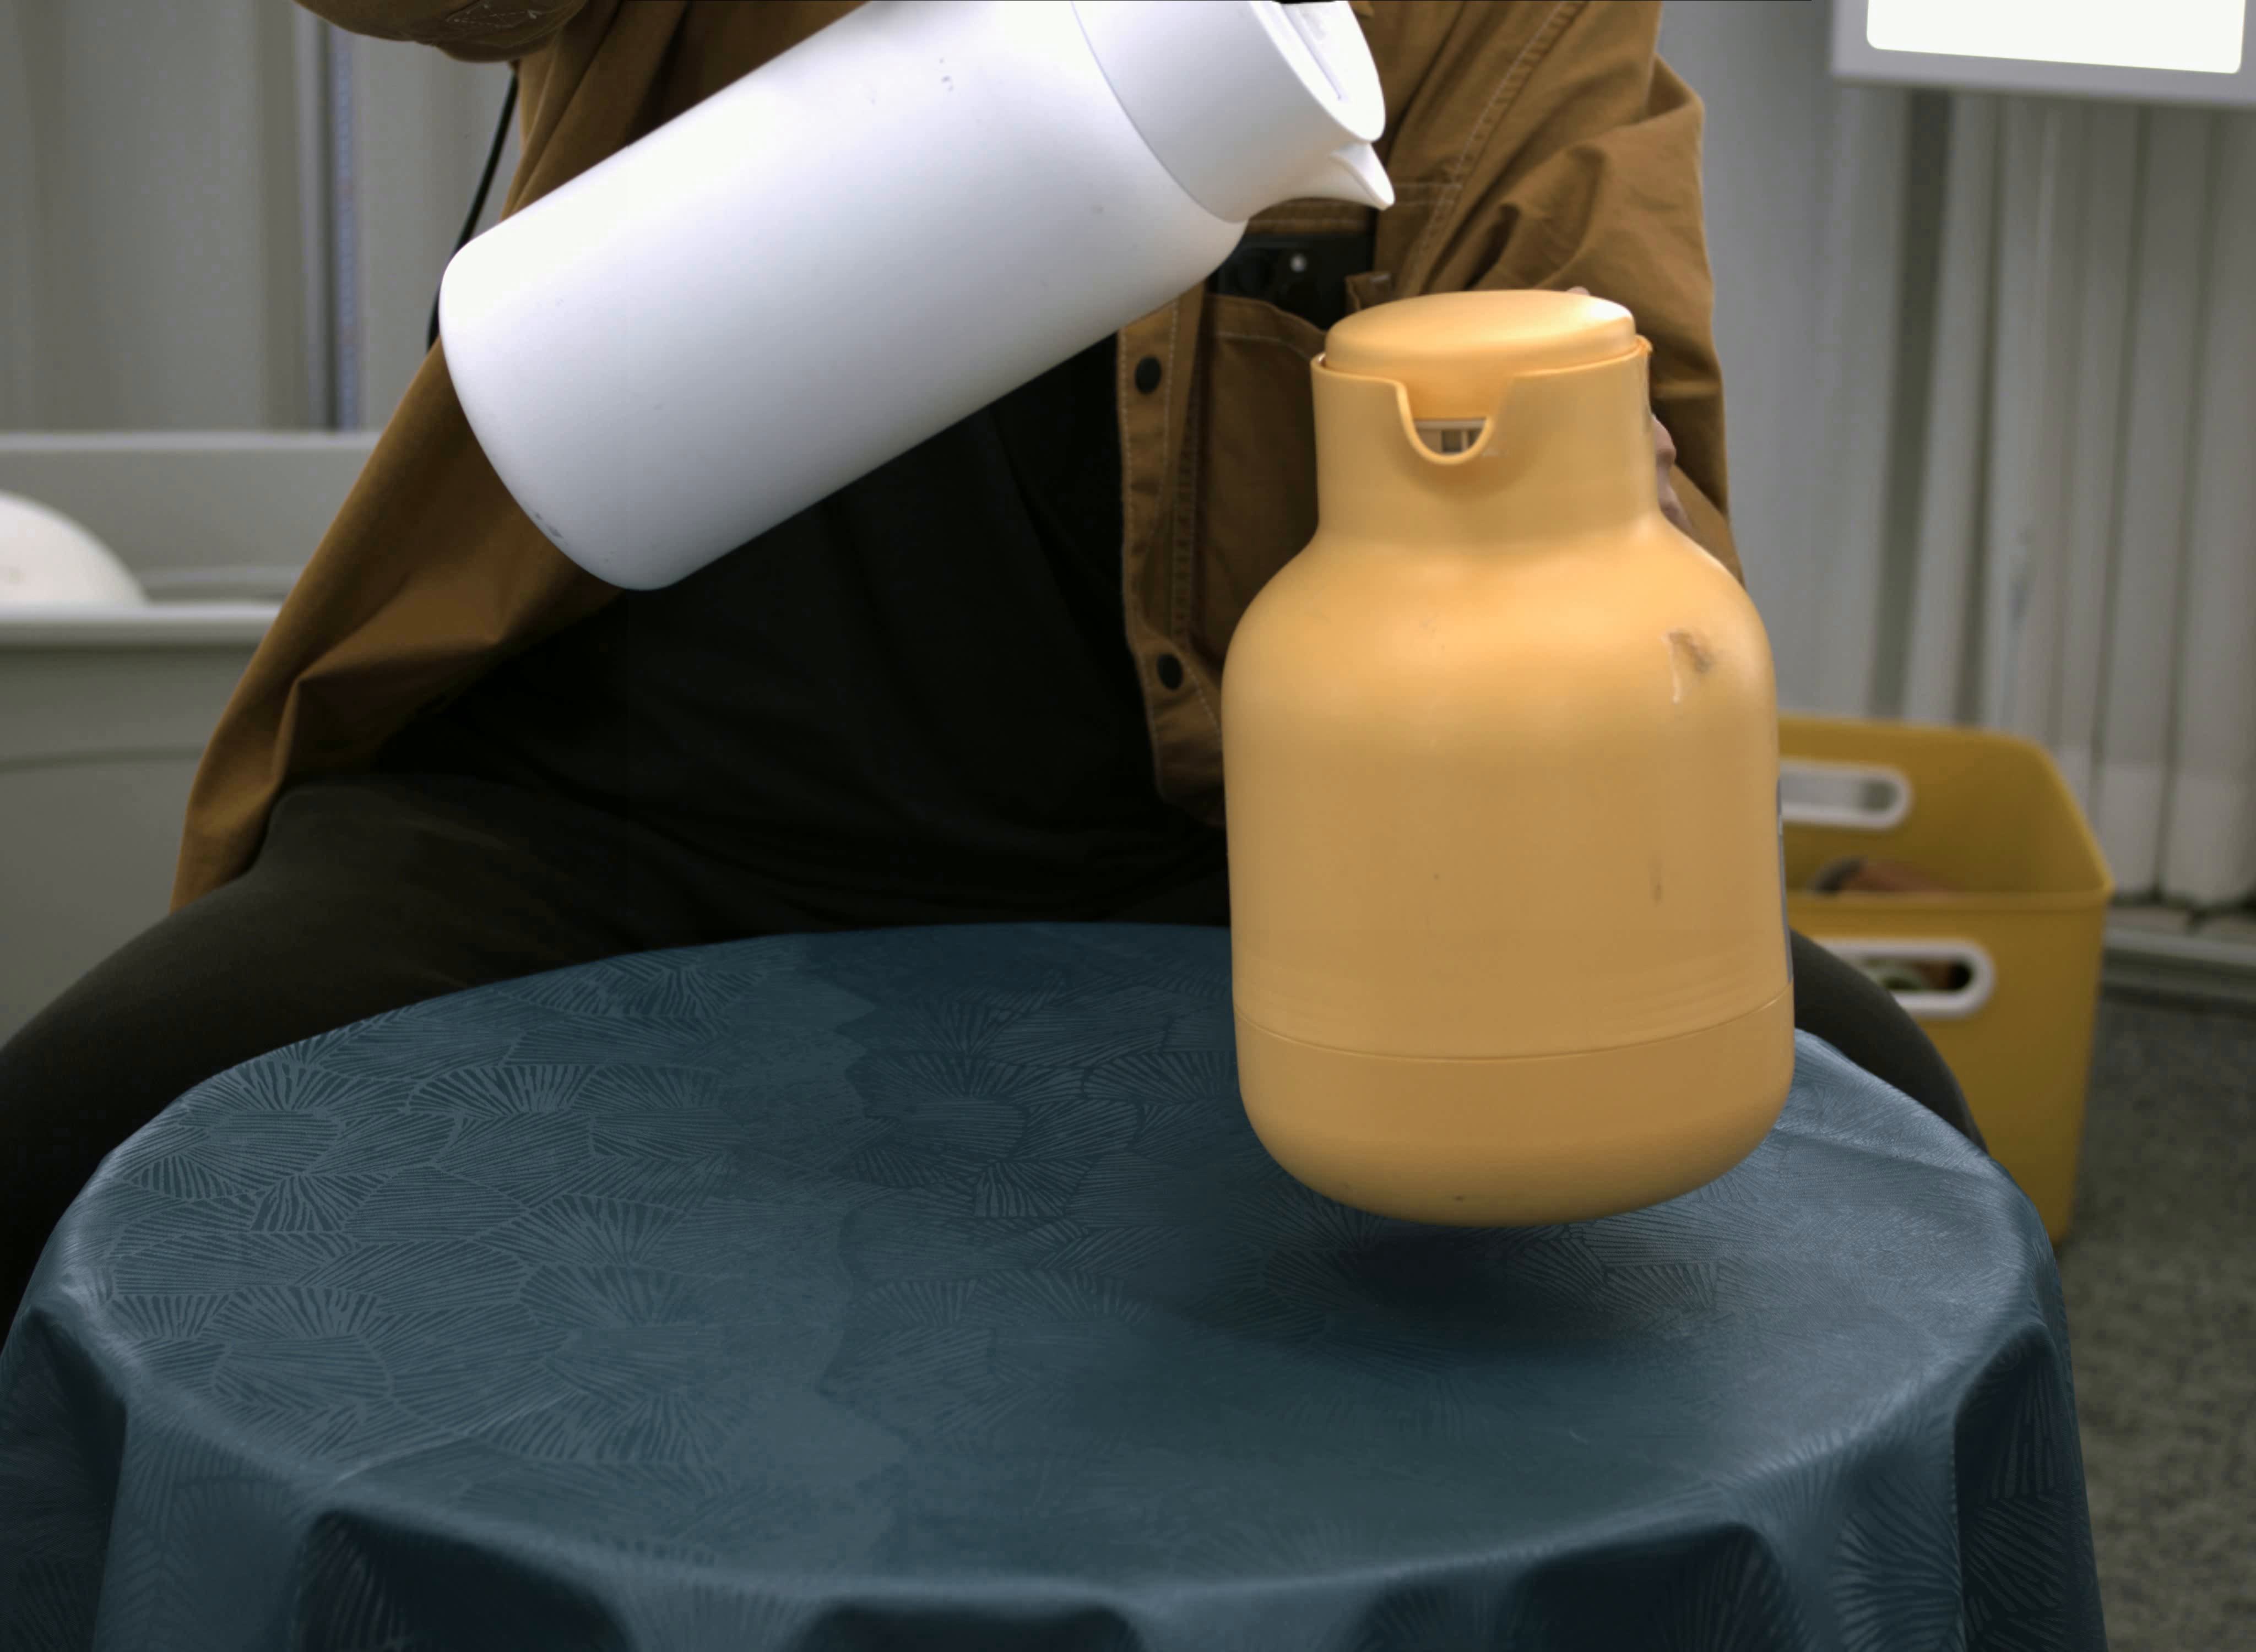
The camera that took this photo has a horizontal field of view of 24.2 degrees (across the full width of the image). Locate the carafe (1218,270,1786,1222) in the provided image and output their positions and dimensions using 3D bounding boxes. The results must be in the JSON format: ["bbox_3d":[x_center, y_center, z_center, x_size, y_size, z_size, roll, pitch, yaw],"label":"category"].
[{"bbox_3d":[0.112,-0.031,1.532,0.162,0.262,0.202,2,17,13],"label":"carafe"}]

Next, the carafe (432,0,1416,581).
[{"bbox_3d":[-0.072,-0.192,1.501,0.268,0.174,0.123,-27,18,21],"label":"carafe"}]
